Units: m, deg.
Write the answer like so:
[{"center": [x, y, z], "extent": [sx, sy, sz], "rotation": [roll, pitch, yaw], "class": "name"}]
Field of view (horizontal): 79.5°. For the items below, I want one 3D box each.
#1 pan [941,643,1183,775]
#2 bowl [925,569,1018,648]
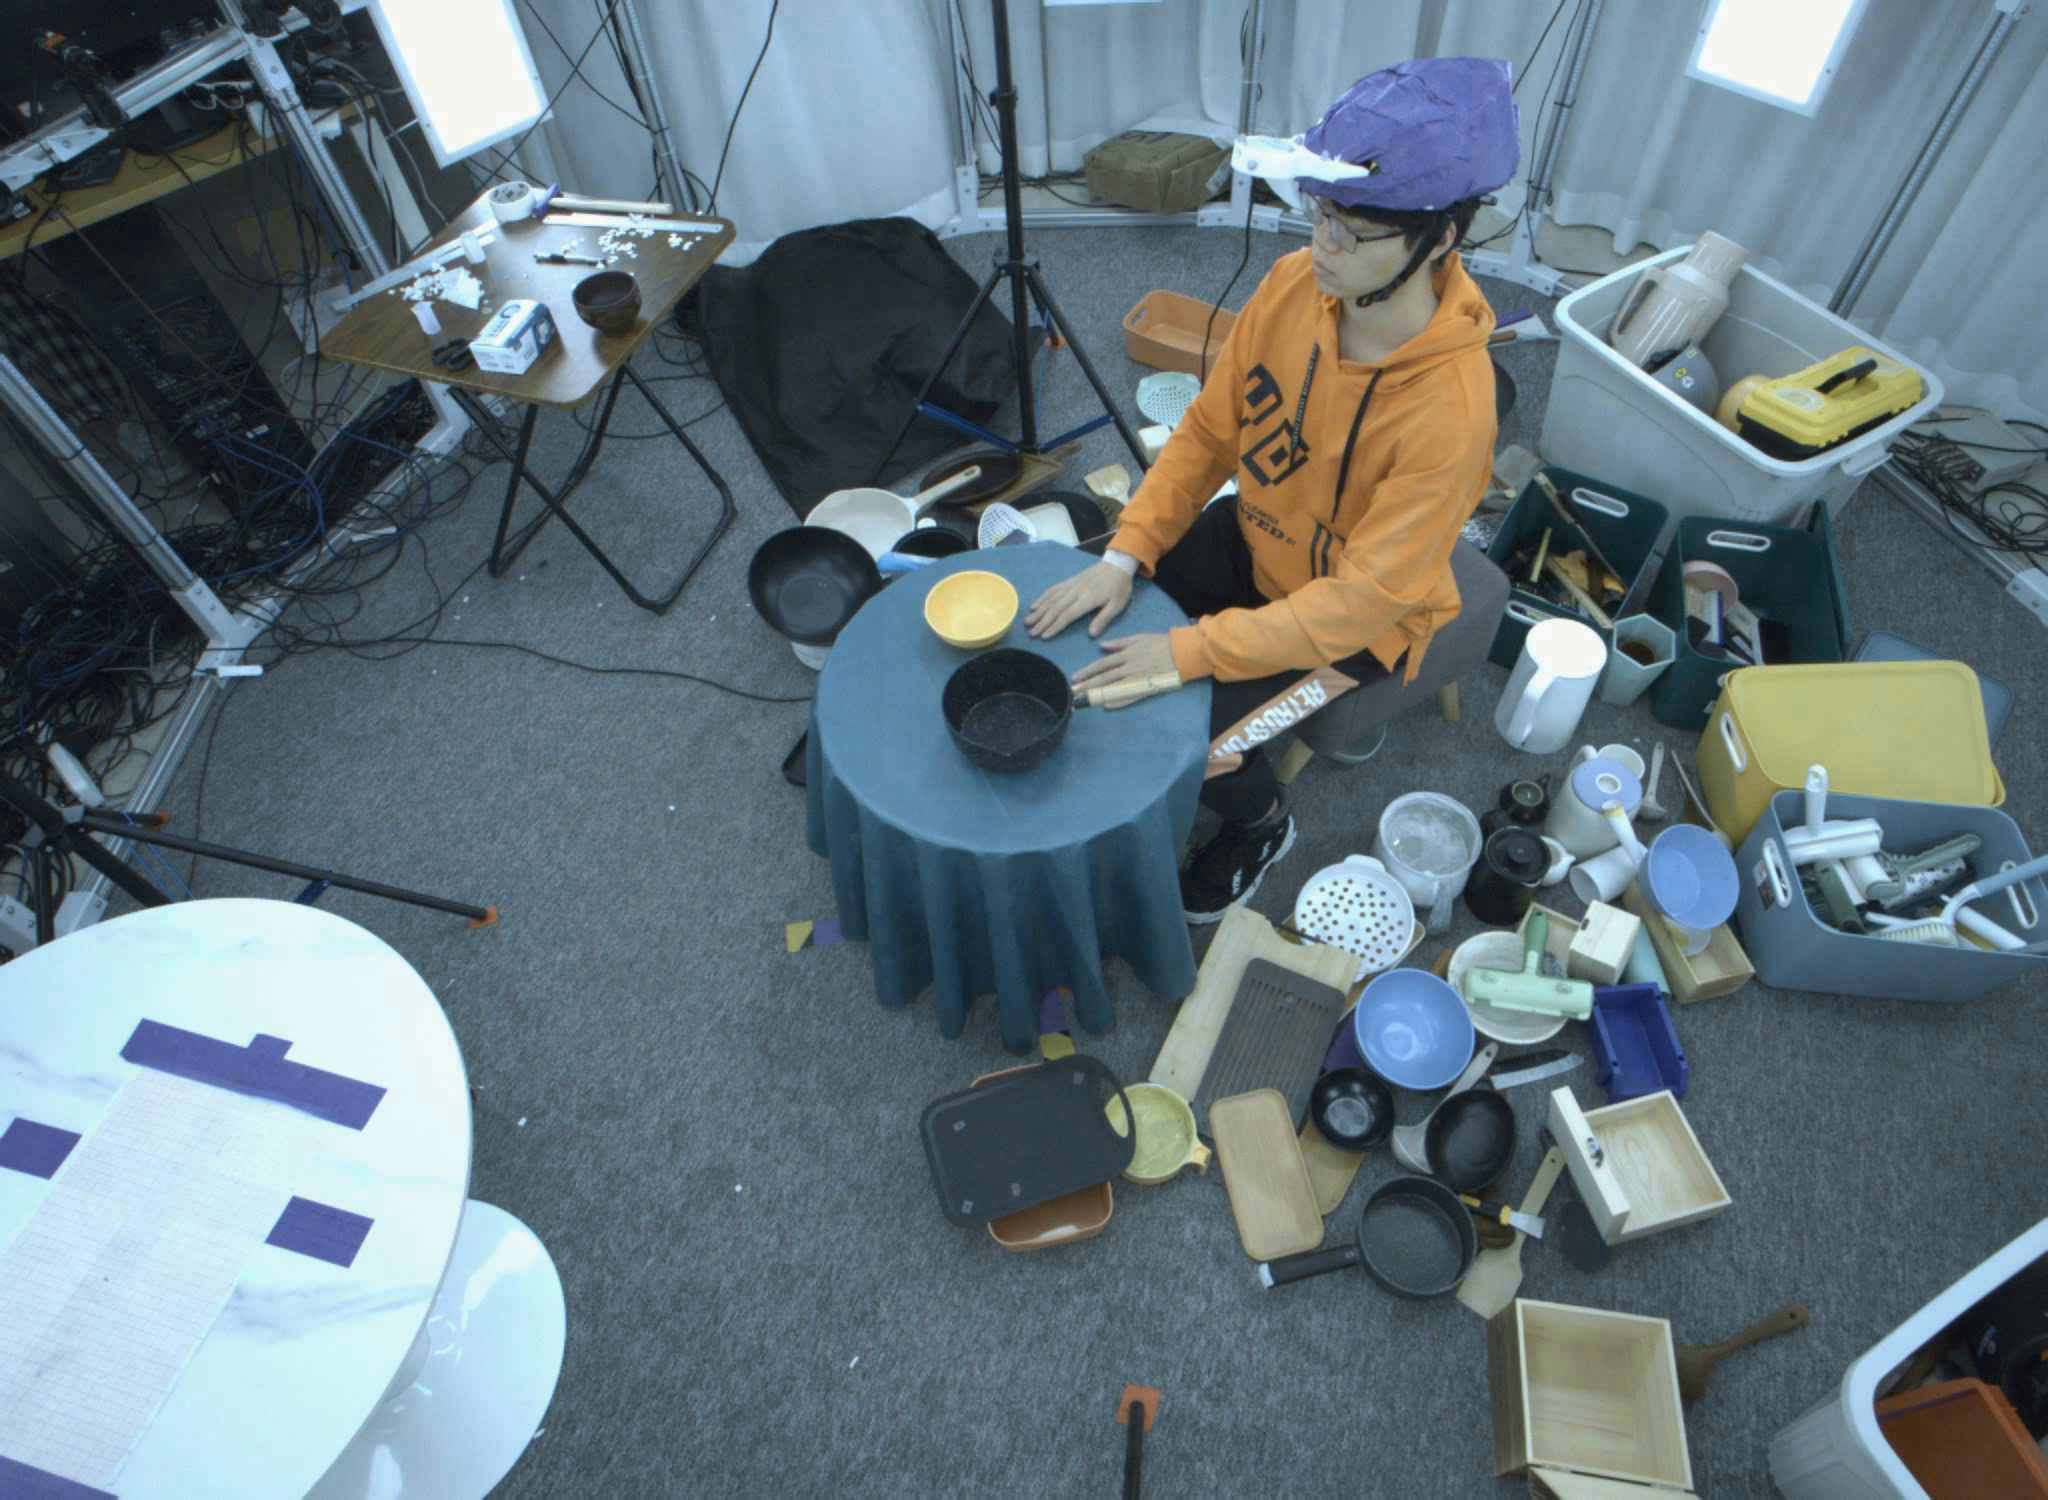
[{"center": [0.055, -0.063, 1.763], "extent": [0.343, 0.109, 0.205], "rotation": [-6, 53, 0], "class": "pan"}, {"center": [-0.079, -0.207, 1.901], "extent": [0.145, 0.061, 0.144], "rotation": [0, 56, 2], "class": "bowl"}]
